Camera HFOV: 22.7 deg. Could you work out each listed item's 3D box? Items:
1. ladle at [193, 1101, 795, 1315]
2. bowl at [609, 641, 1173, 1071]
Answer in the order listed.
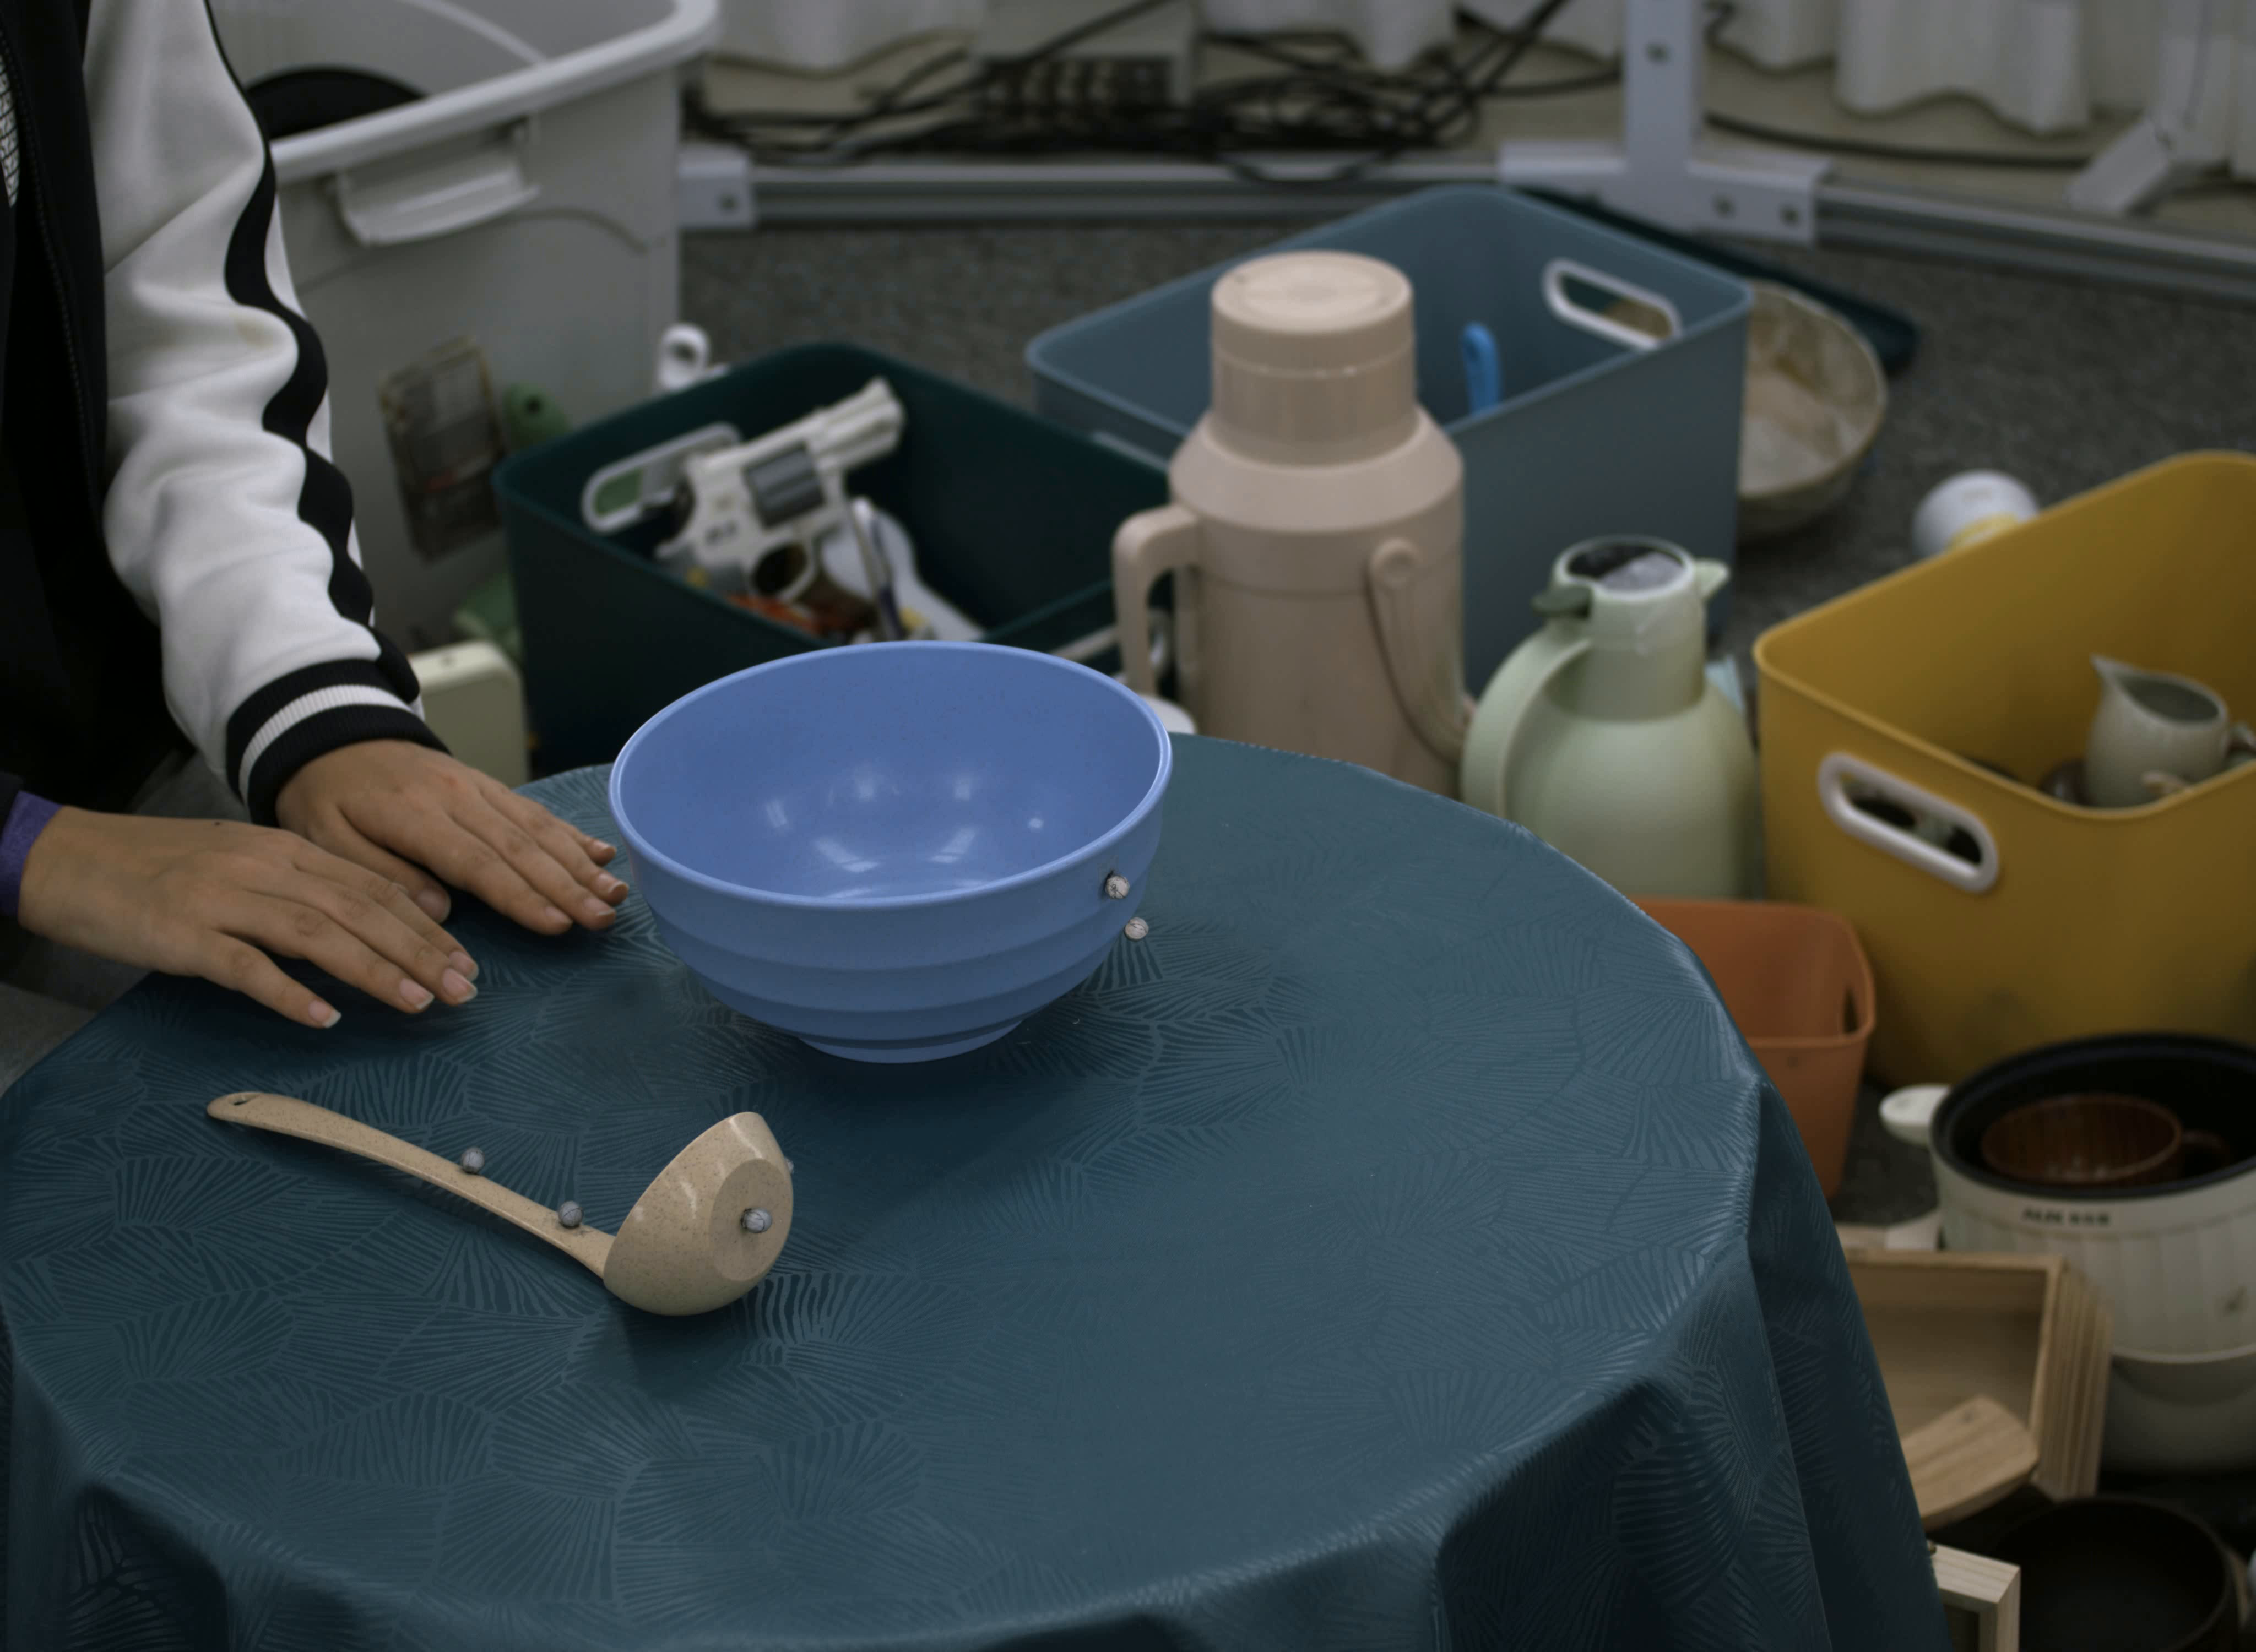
[{"bbox_3d":[-0.219,0.098,1.849,0.253,0.072,0.073,16,31,33],"label":"ladle"},{"bbox_3d":[-0.079,0.022,1.965,0.195,0.094,0.199,-3,28,2],"label":"bowl"}]
